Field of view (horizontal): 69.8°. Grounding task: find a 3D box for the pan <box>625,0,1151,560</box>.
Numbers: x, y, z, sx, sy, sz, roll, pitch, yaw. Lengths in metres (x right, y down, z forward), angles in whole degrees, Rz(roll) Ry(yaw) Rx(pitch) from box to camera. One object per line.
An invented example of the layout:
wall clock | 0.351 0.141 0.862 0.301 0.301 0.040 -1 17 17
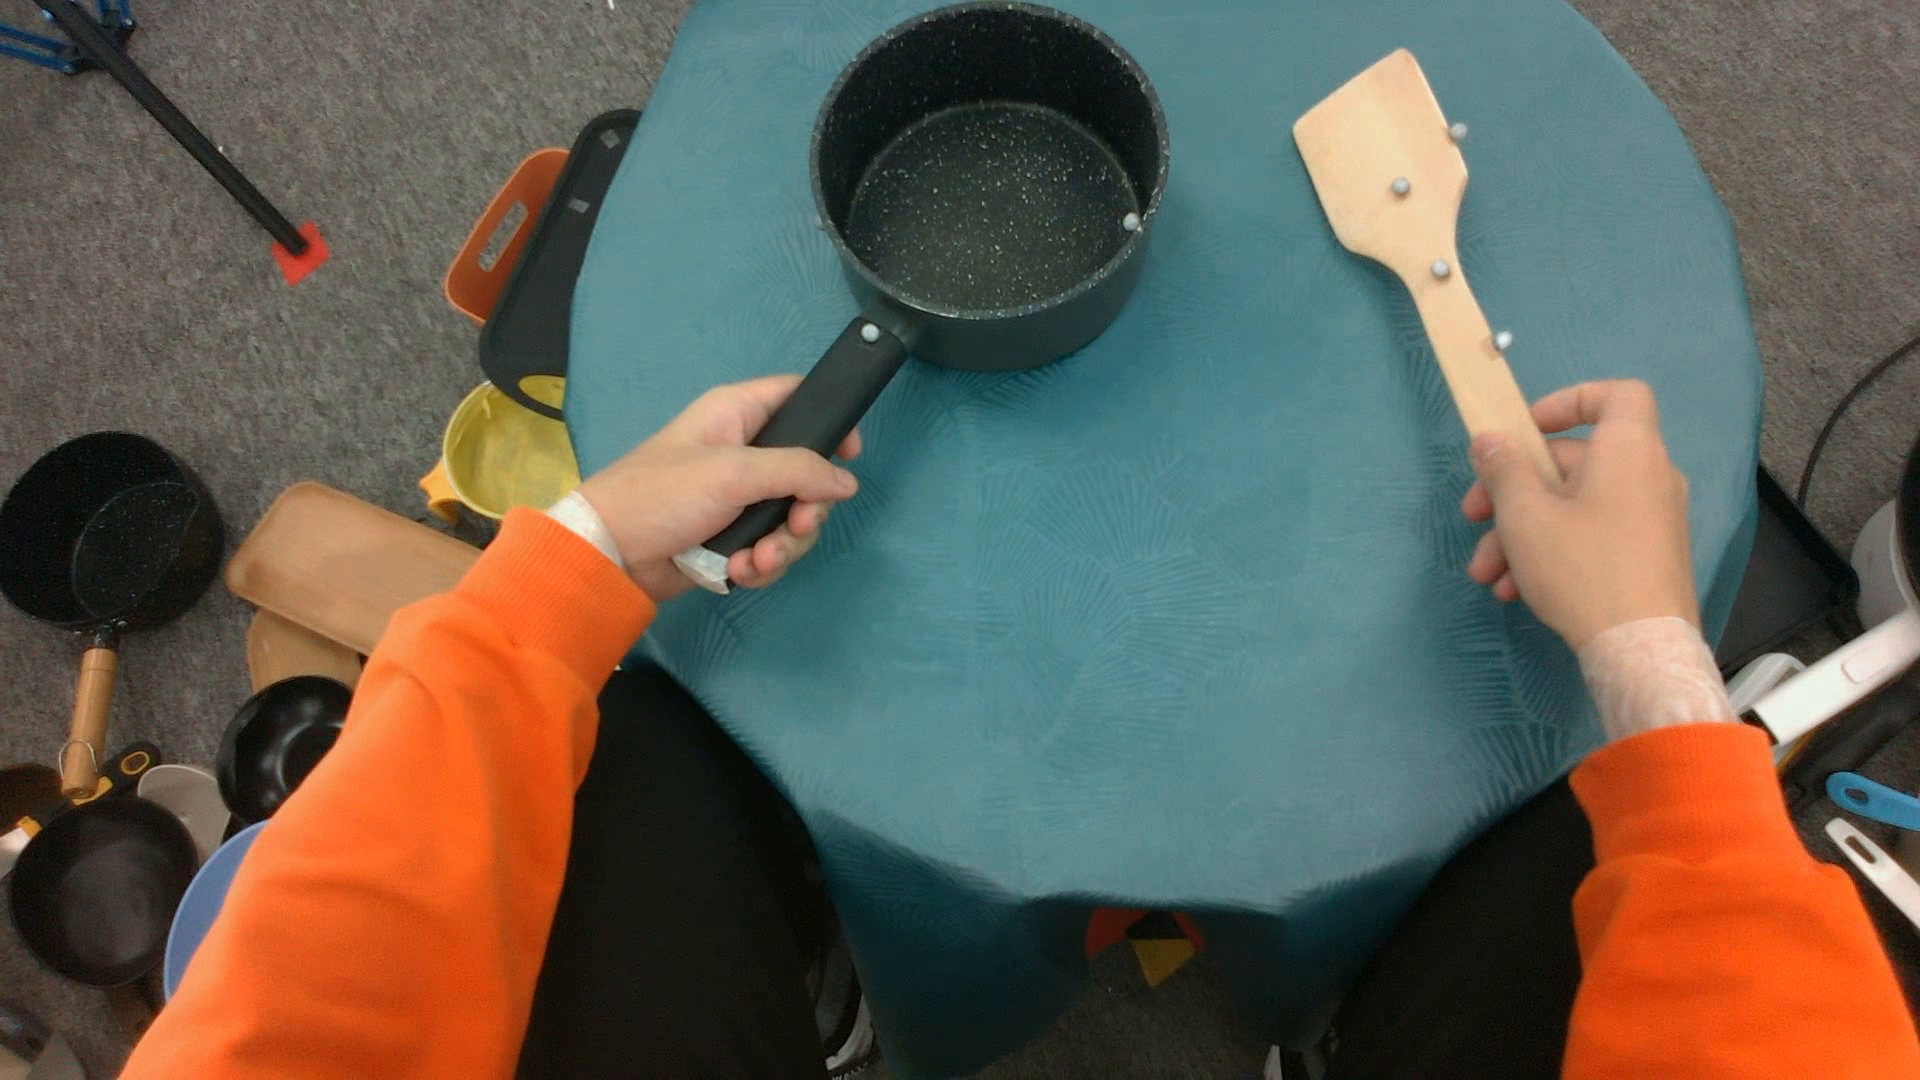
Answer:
pan | -0.038 -0.117 0.665 0.172 0.086 0.329 32 75 12

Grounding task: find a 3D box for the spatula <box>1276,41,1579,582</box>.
spatula | 0.226 -0.113 0.656 0.072 0.010 0.294 -31 60 32
